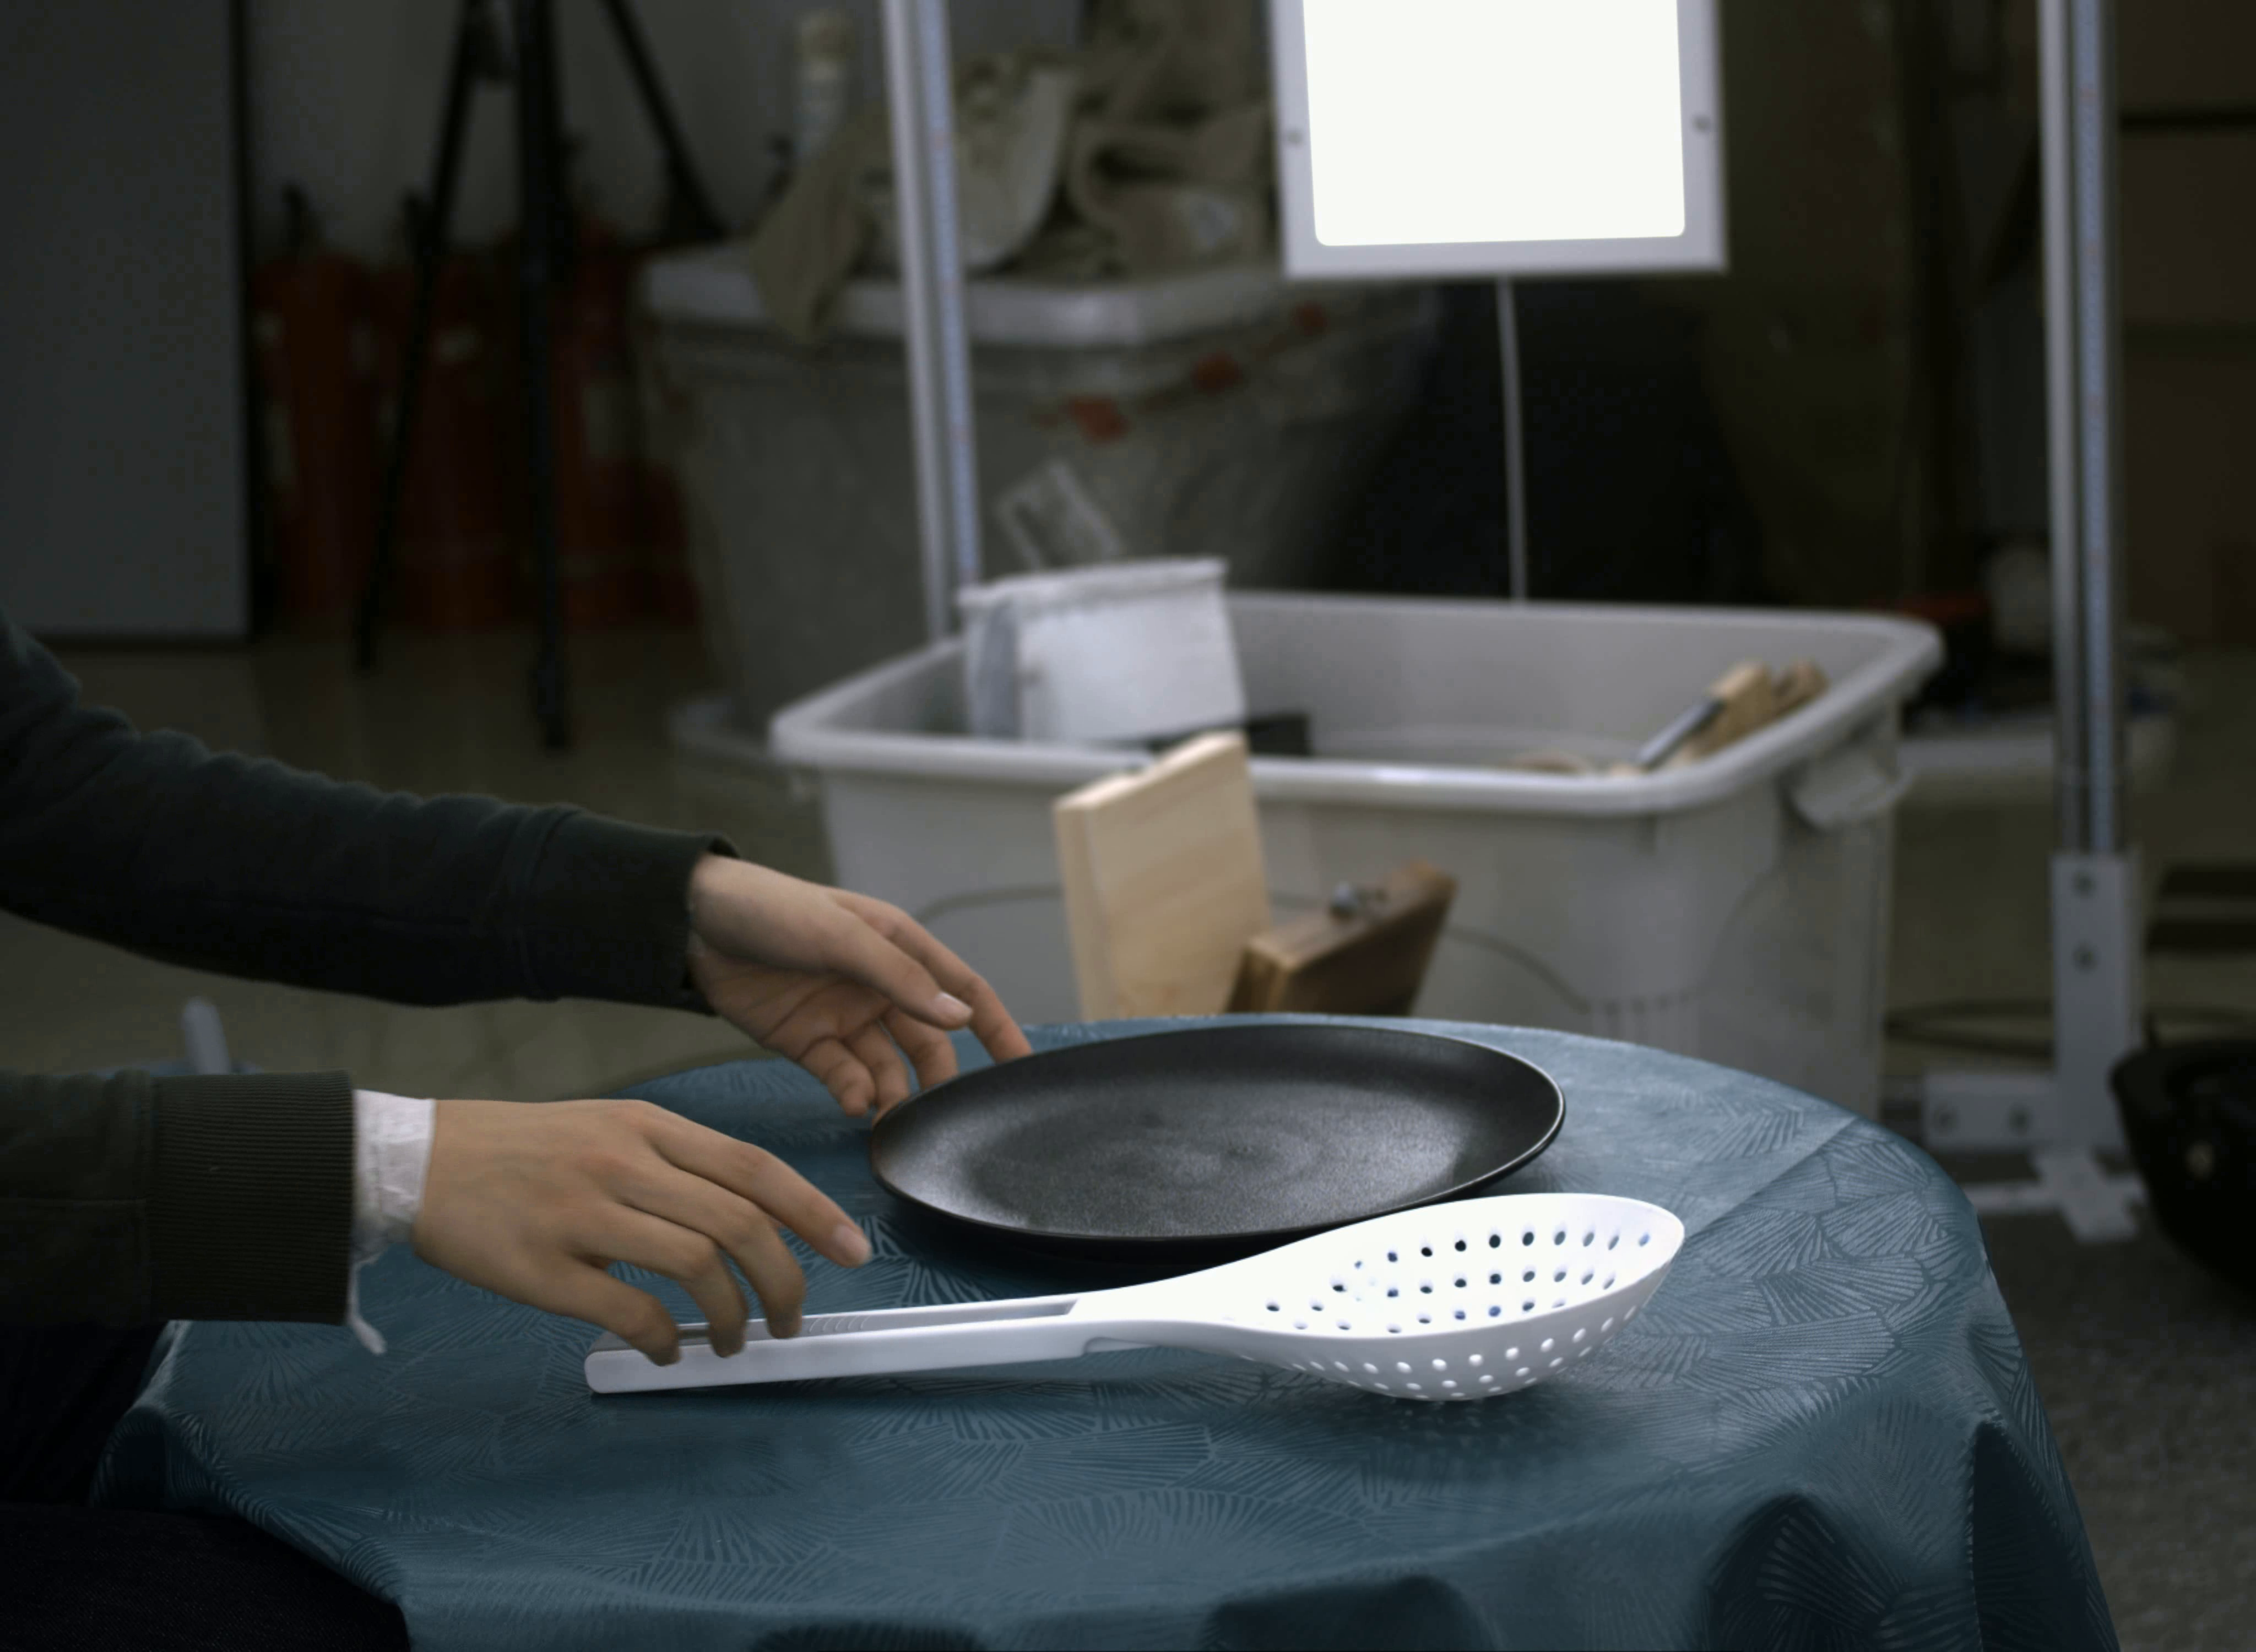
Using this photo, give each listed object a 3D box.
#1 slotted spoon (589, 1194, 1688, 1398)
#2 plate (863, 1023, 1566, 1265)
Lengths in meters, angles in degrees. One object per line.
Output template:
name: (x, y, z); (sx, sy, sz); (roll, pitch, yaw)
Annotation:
slotted spoon: (0.000, 0.151, 1.700); (0.353, 0.046, 0.134); (-2, 12, 15)
plate: (0.030, 0.112, 1.897); (0.244, 0.023, 0.244); (-5, 14, 0)
